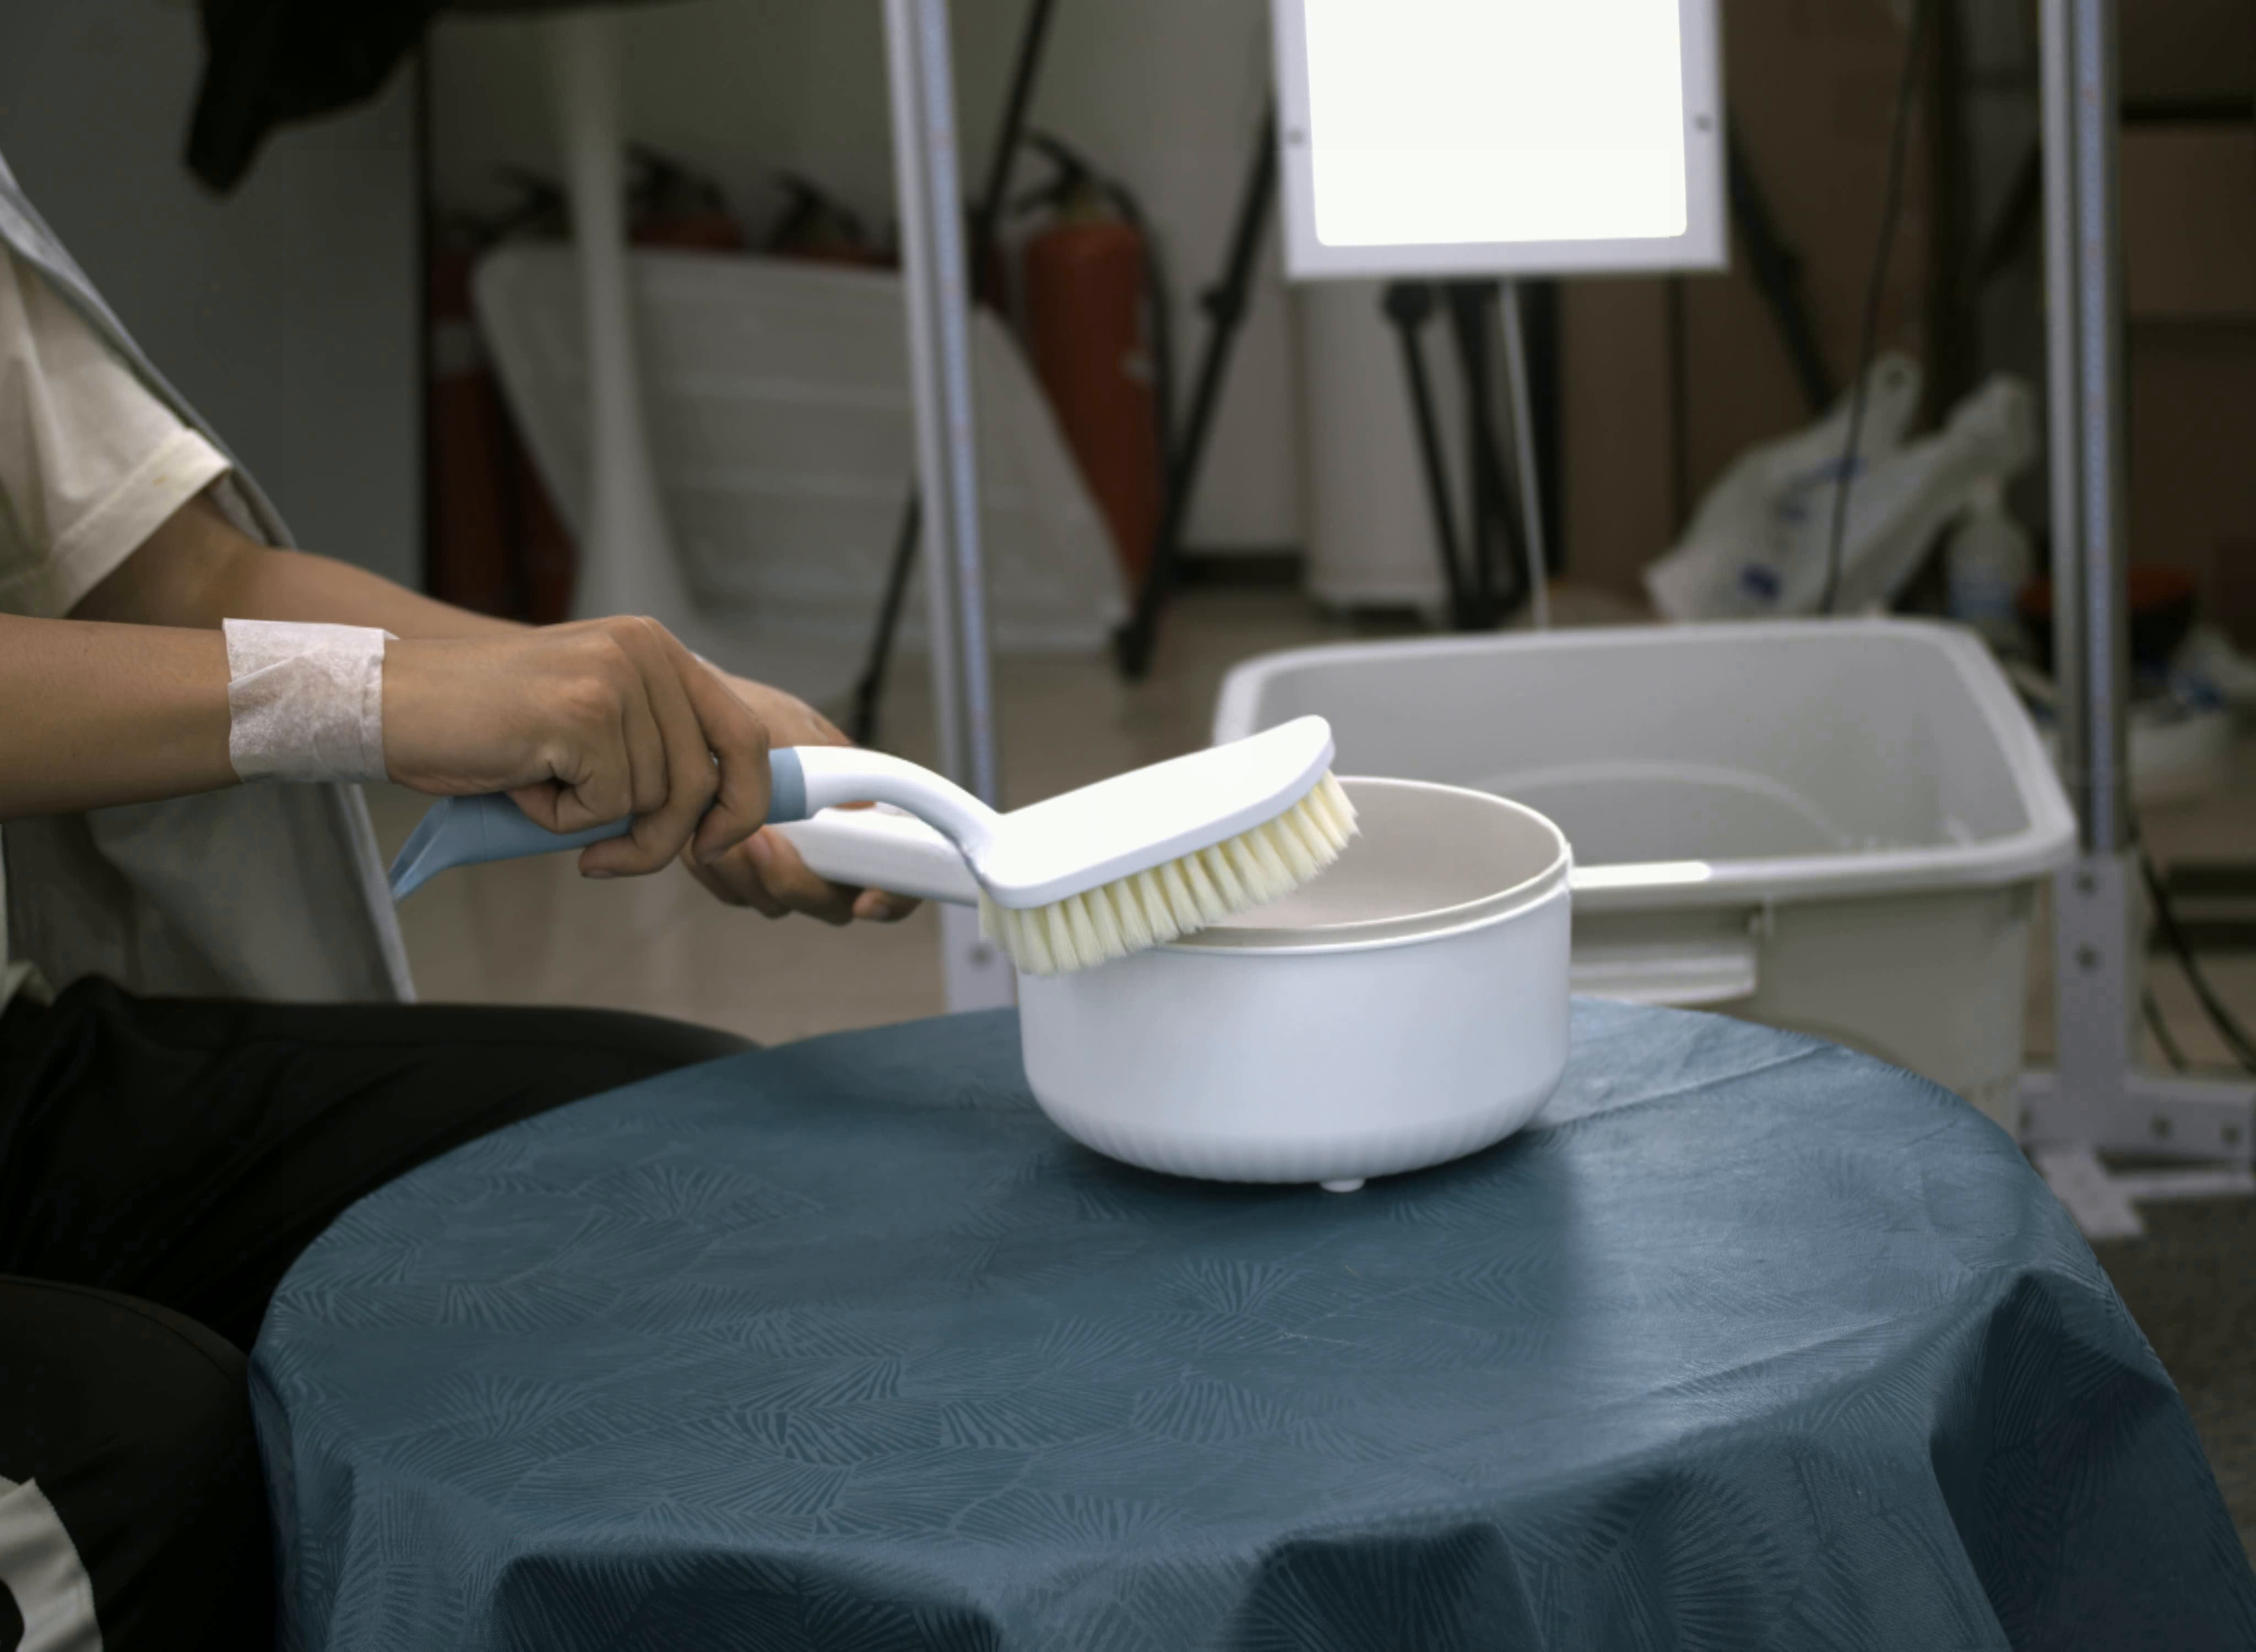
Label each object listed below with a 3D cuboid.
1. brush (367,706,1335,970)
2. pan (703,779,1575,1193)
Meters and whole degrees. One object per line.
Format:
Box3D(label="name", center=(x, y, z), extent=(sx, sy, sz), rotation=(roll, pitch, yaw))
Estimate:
Box3D(label="brush", center=(-0.088, 0.019, 1.816), extent=(0.321, 0.085, 0.084), rotation=(-8, -19, -12))
Box3D(label="pan", center=(-0.005, 0.048, 1.982), extent=(0.362, 0.102, 0.196), rotation=(8, 19, 36))
